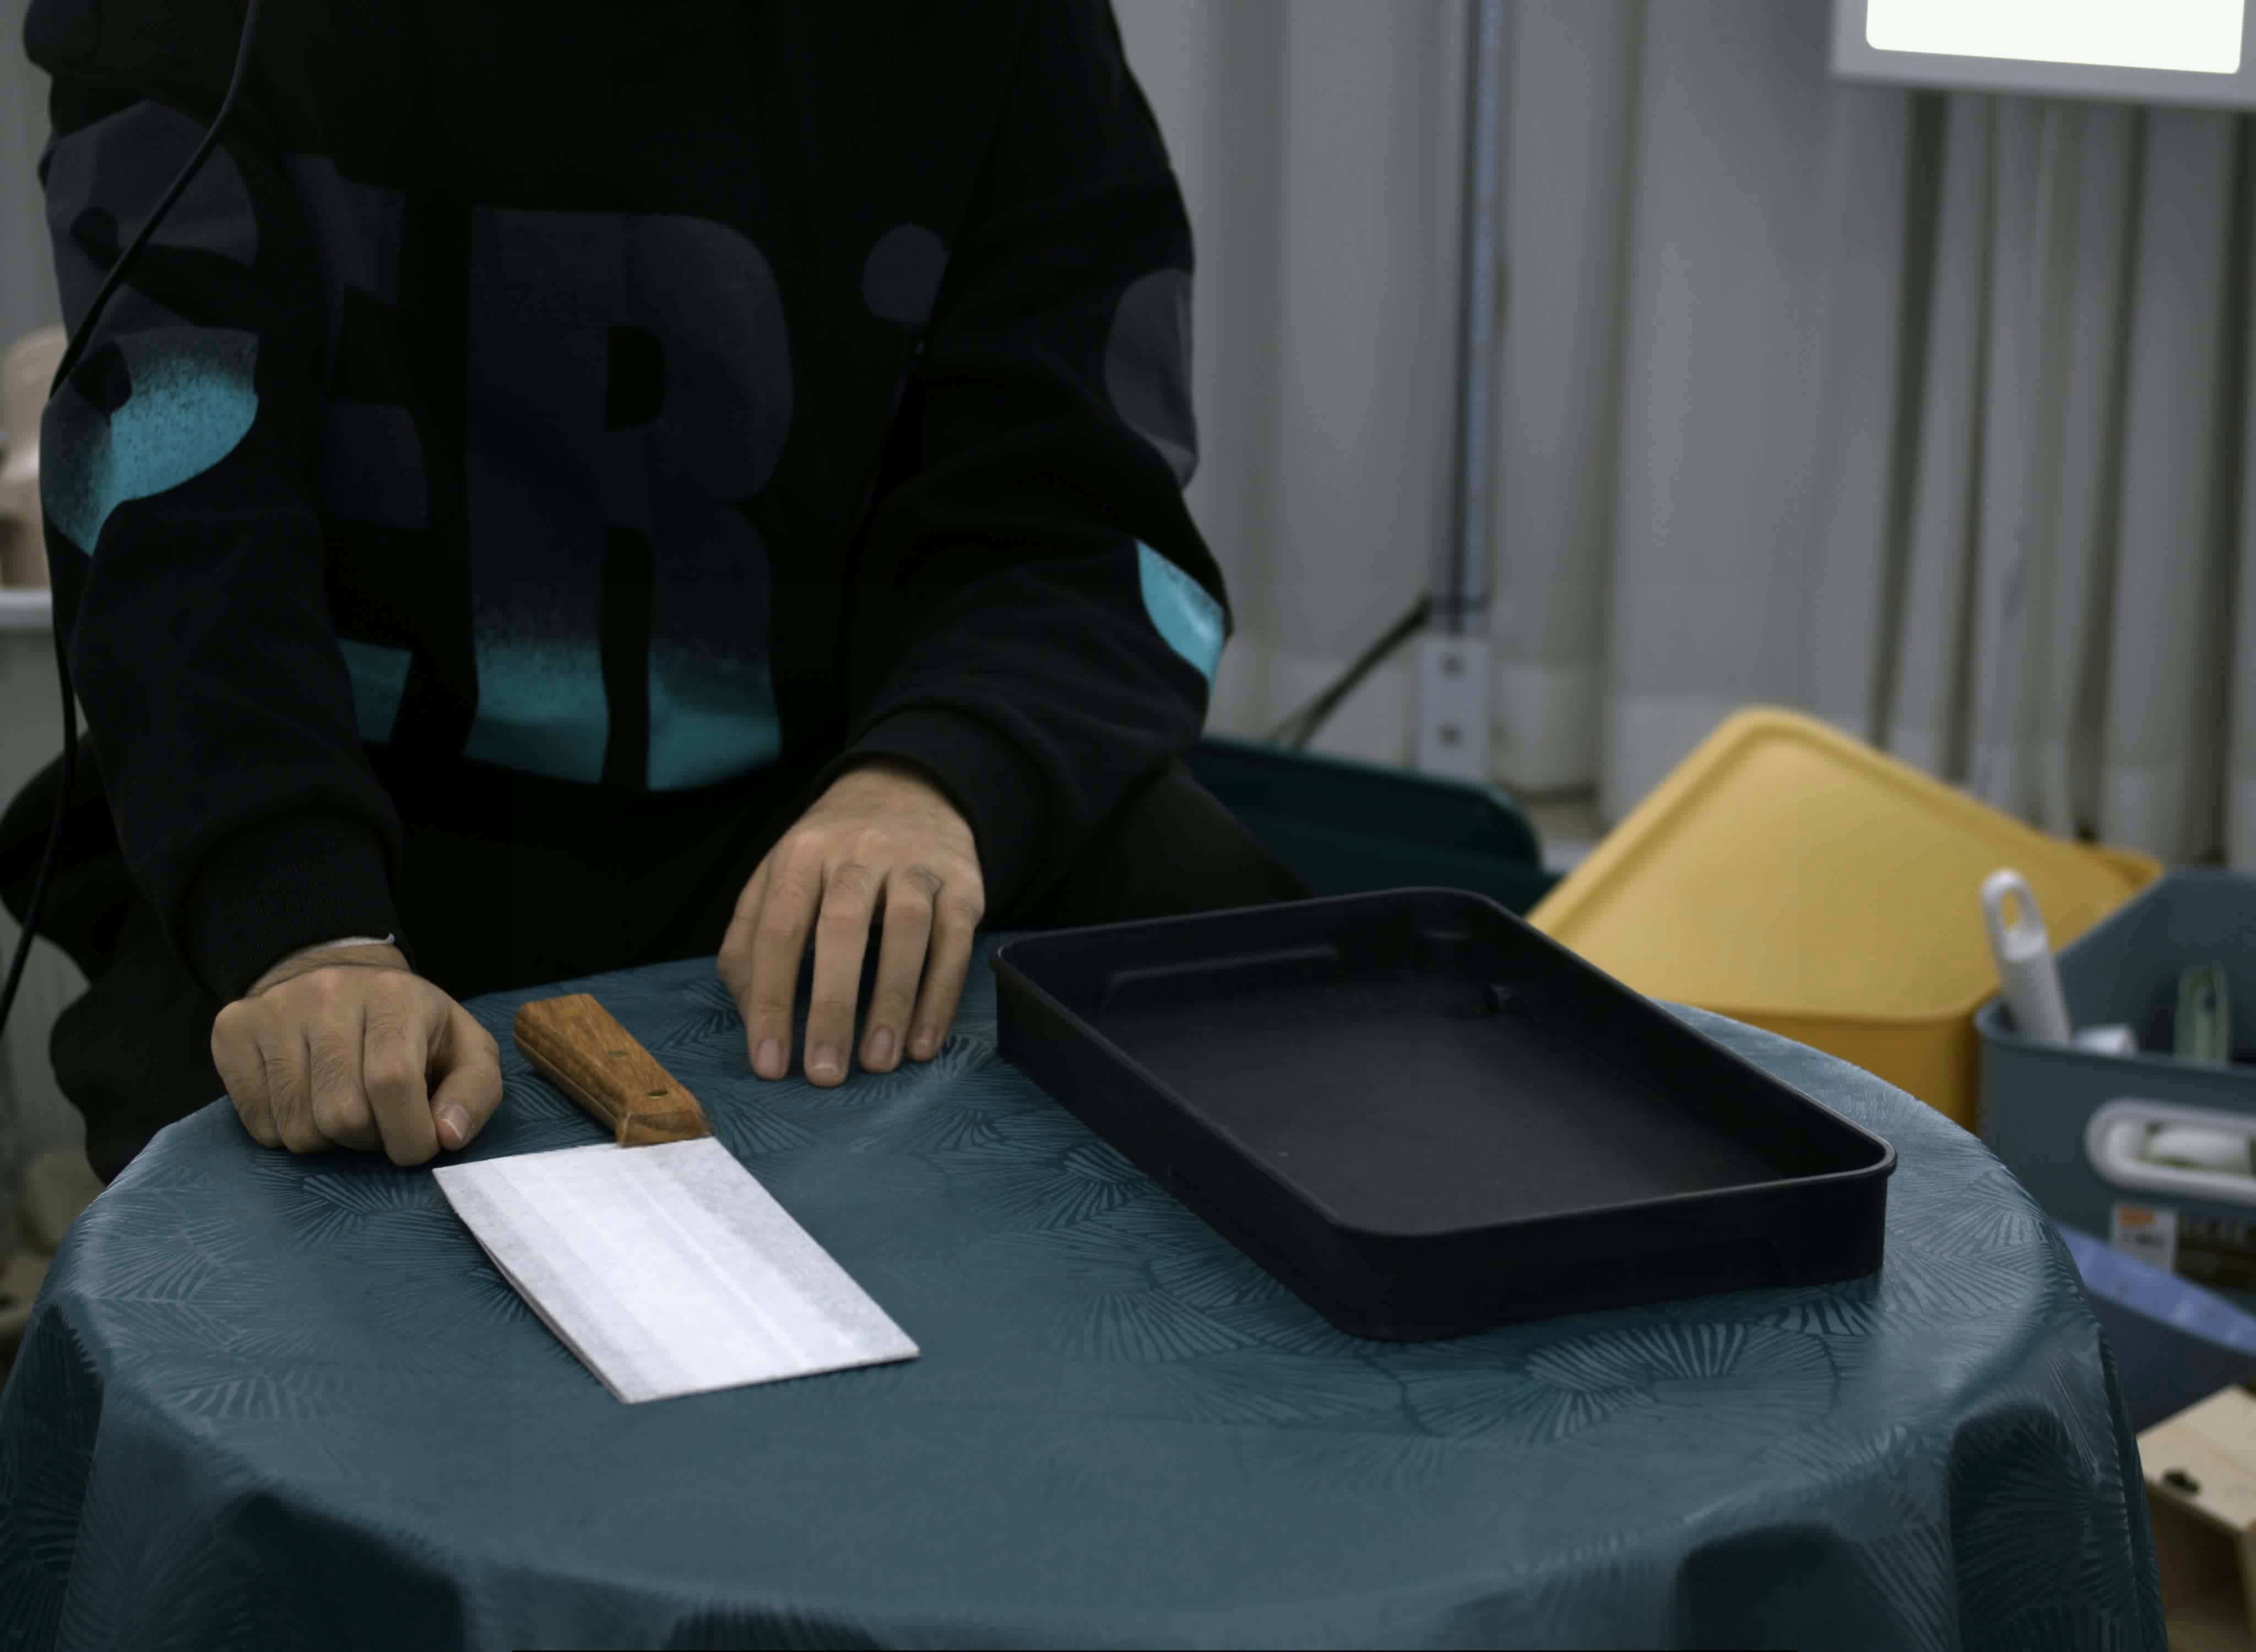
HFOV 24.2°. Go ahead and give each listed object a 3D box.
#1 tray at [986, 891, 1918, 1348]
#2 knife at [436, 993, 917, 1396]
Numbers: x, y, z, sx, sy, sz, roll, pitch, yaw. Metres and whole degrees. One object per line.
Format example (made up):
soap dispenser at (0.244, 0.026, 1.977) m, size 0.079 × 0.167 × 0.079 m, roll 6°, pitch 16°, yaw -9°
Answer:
tray at (0.093, 0.086, 1.652) m, size 0.185 × 0.037 × 0.314 m, roll -7°, pitch 17°, yaw -23°
knife at (-0.157, 0.110, 1.597) m, size 0.093 × 0.021 × 0.302 m, roll -8°, pitch 20°, yaw -22°
